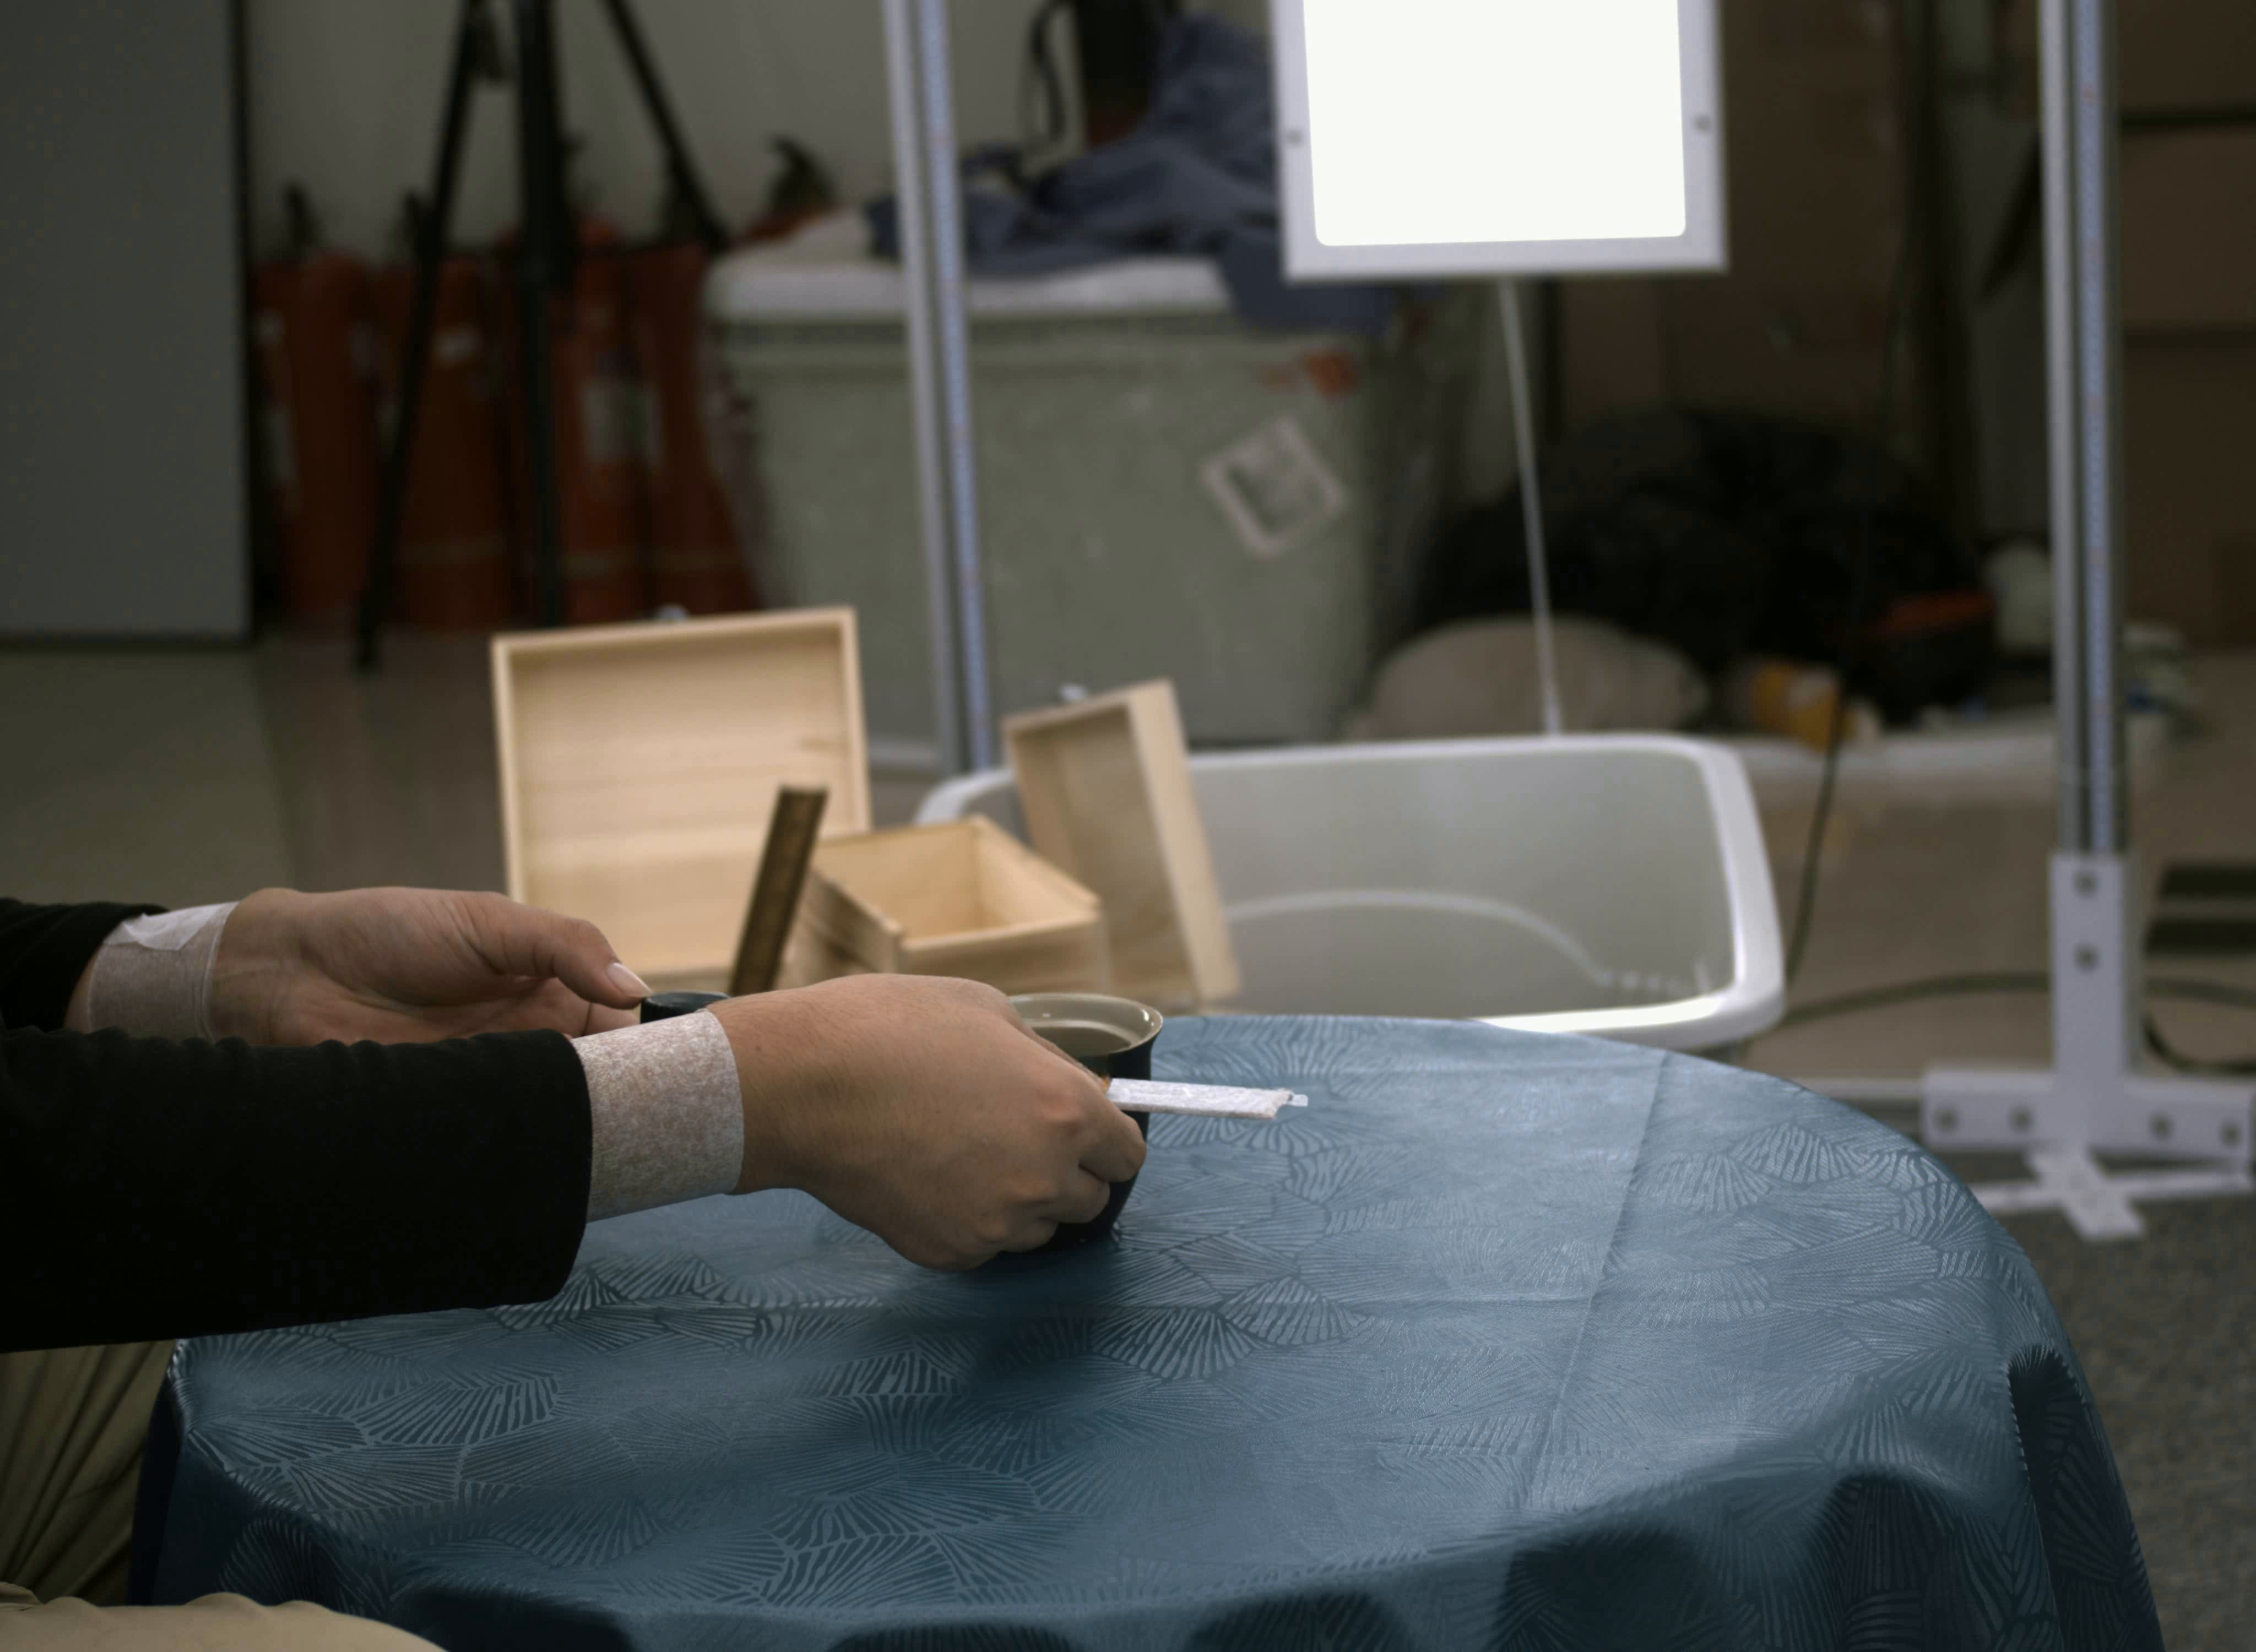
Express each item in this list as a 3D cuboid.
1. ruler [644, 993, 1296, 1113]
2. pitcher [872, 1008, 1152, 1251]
[{"bbox_3d":[-0.054,0.073,1.787,0.220,0.024,0.038,2,16,18],"label":"ruler"},{"bbox_3d":[-0.038,0.102,1.858,0.096,0.071,0.083,-1,15,11],"label":"pitcher"}]
